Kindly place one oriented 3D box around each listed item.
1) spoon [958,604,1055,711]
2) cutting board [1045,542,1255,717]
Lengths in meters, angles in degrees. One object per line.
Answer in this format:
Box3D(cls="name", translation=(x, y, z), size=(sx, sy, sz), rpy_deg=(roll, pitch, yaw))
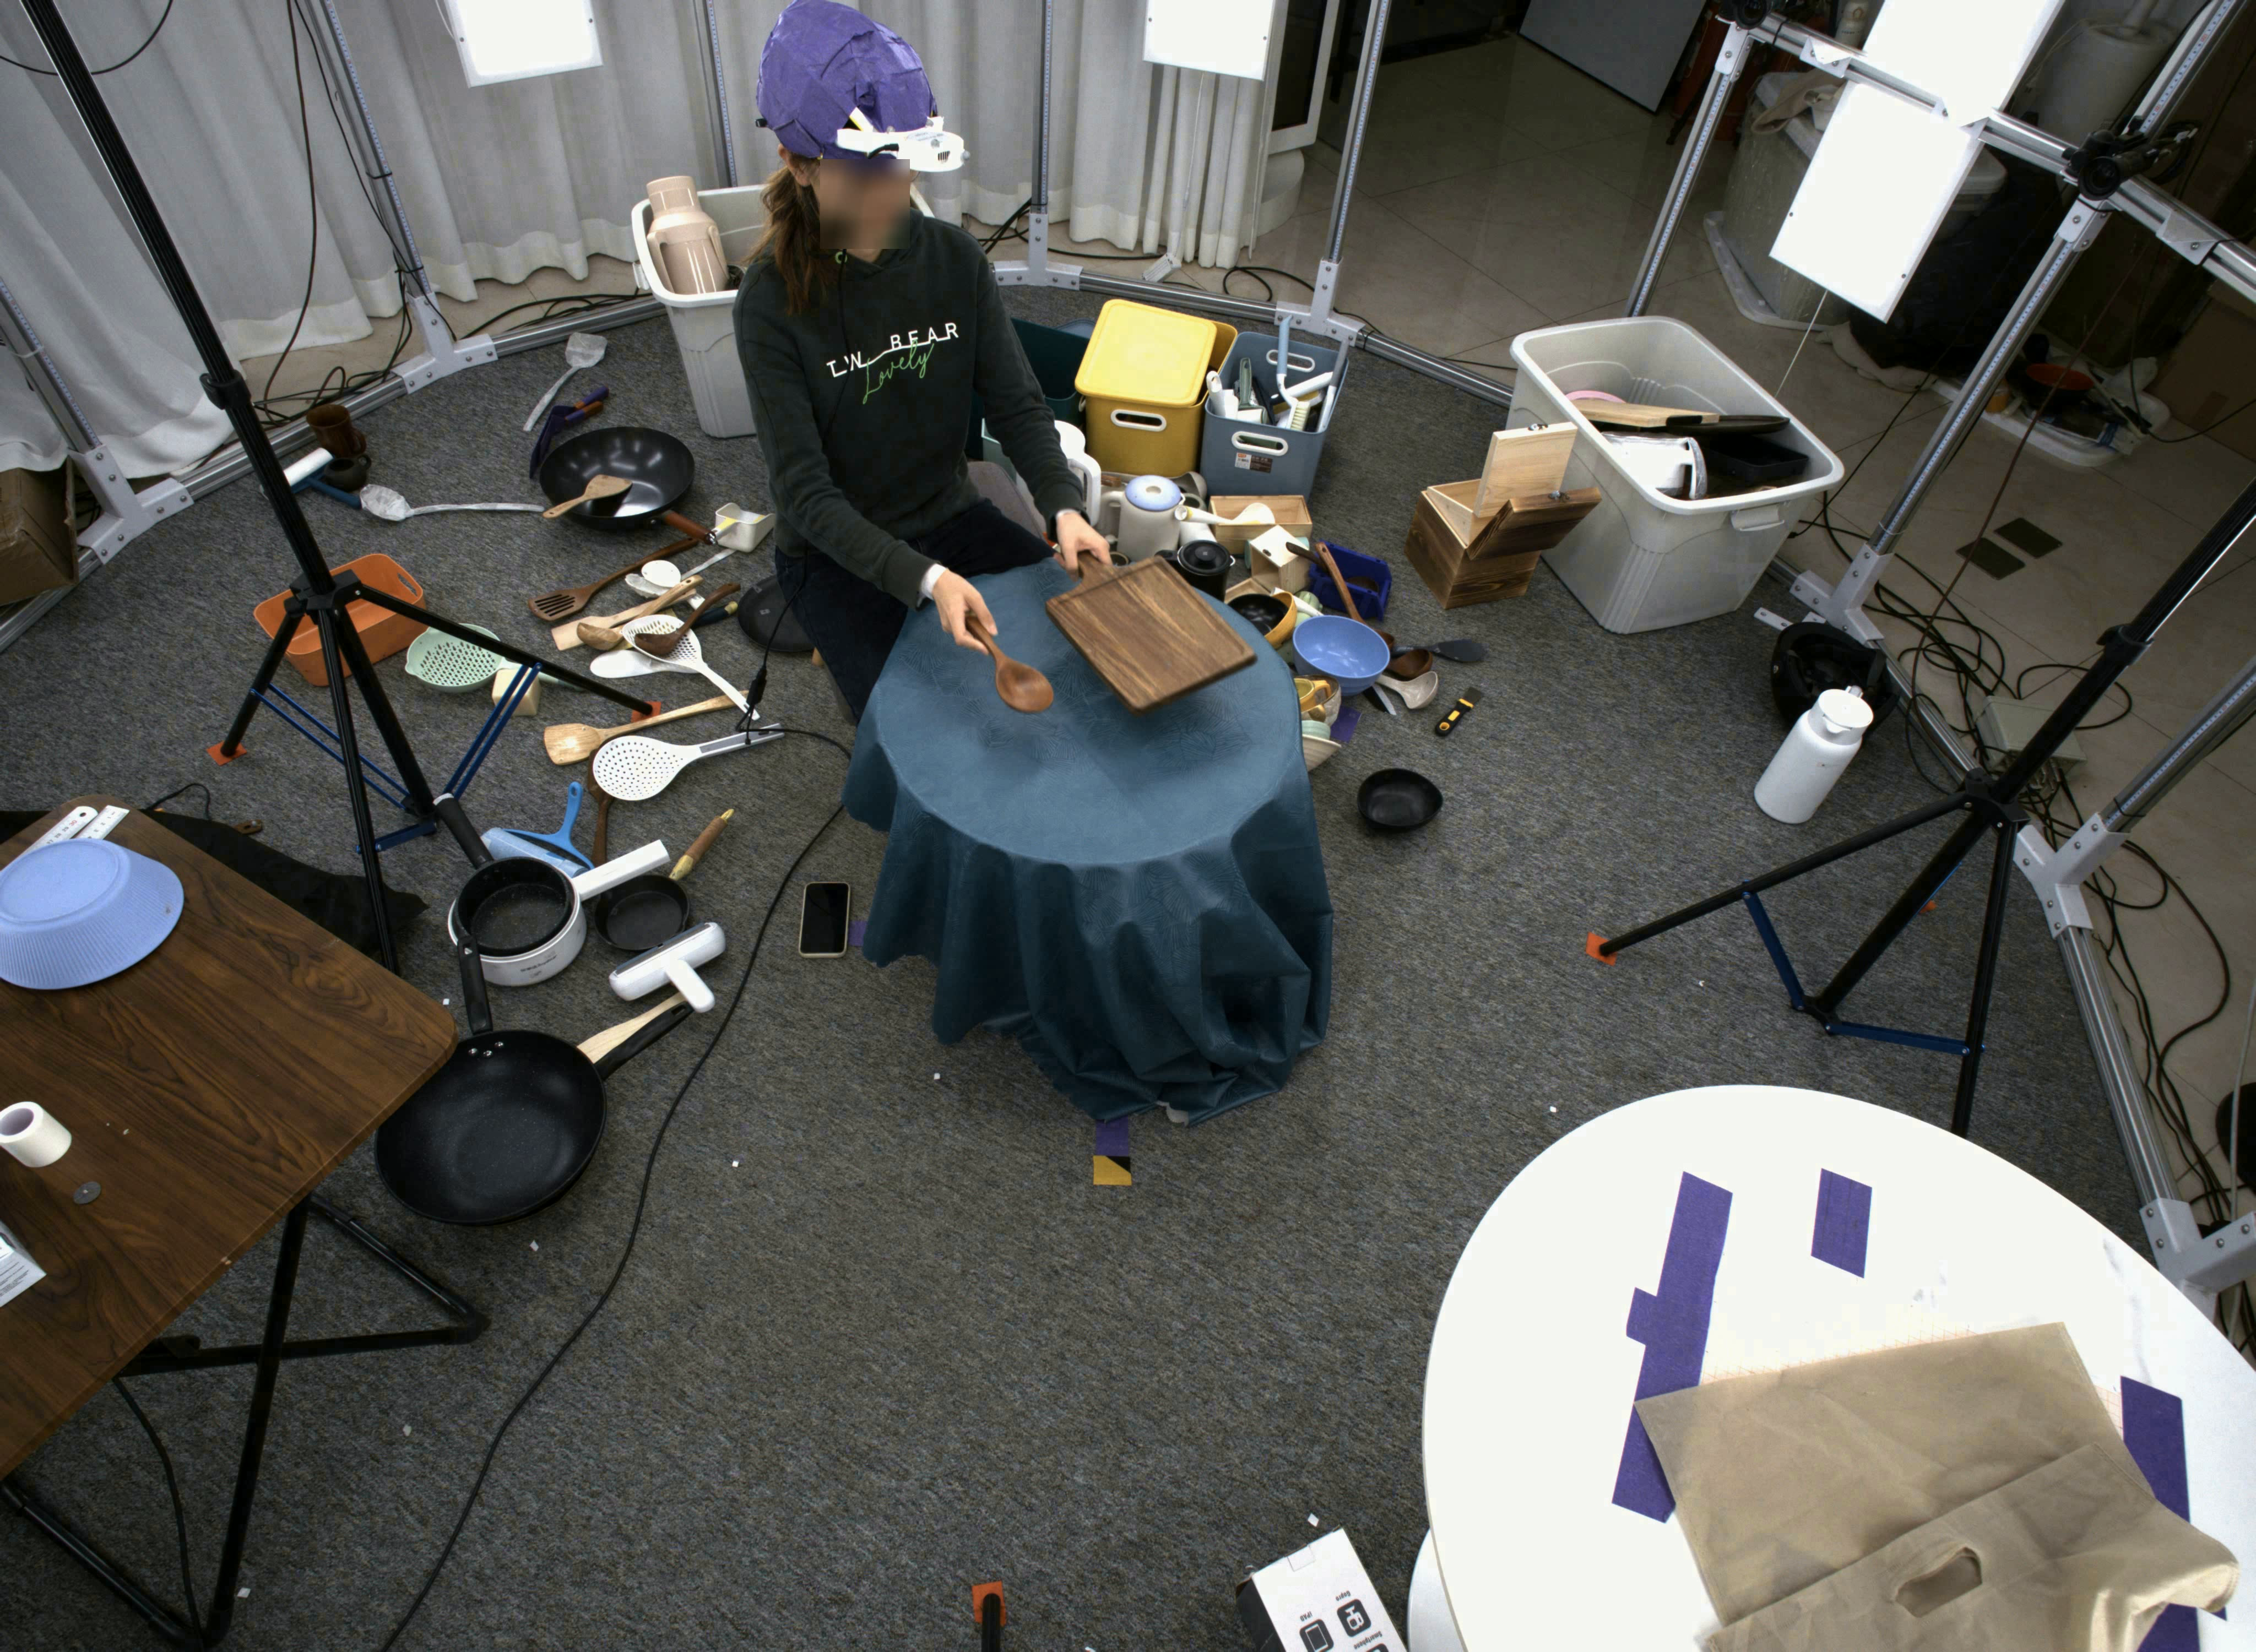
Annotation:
Box3D(cls="spoon", translation=(-0.173, -0.232, 1.763), size=(0.076, 0.017, 0.220), rpy_deg=(-22, 59, -26))
Box3D(cls="cutting board", translation=(0.002, -0.303, 1.828), size=(0.202, 0.022, 0.359), rpy_deg=(-27, 53, -17))
